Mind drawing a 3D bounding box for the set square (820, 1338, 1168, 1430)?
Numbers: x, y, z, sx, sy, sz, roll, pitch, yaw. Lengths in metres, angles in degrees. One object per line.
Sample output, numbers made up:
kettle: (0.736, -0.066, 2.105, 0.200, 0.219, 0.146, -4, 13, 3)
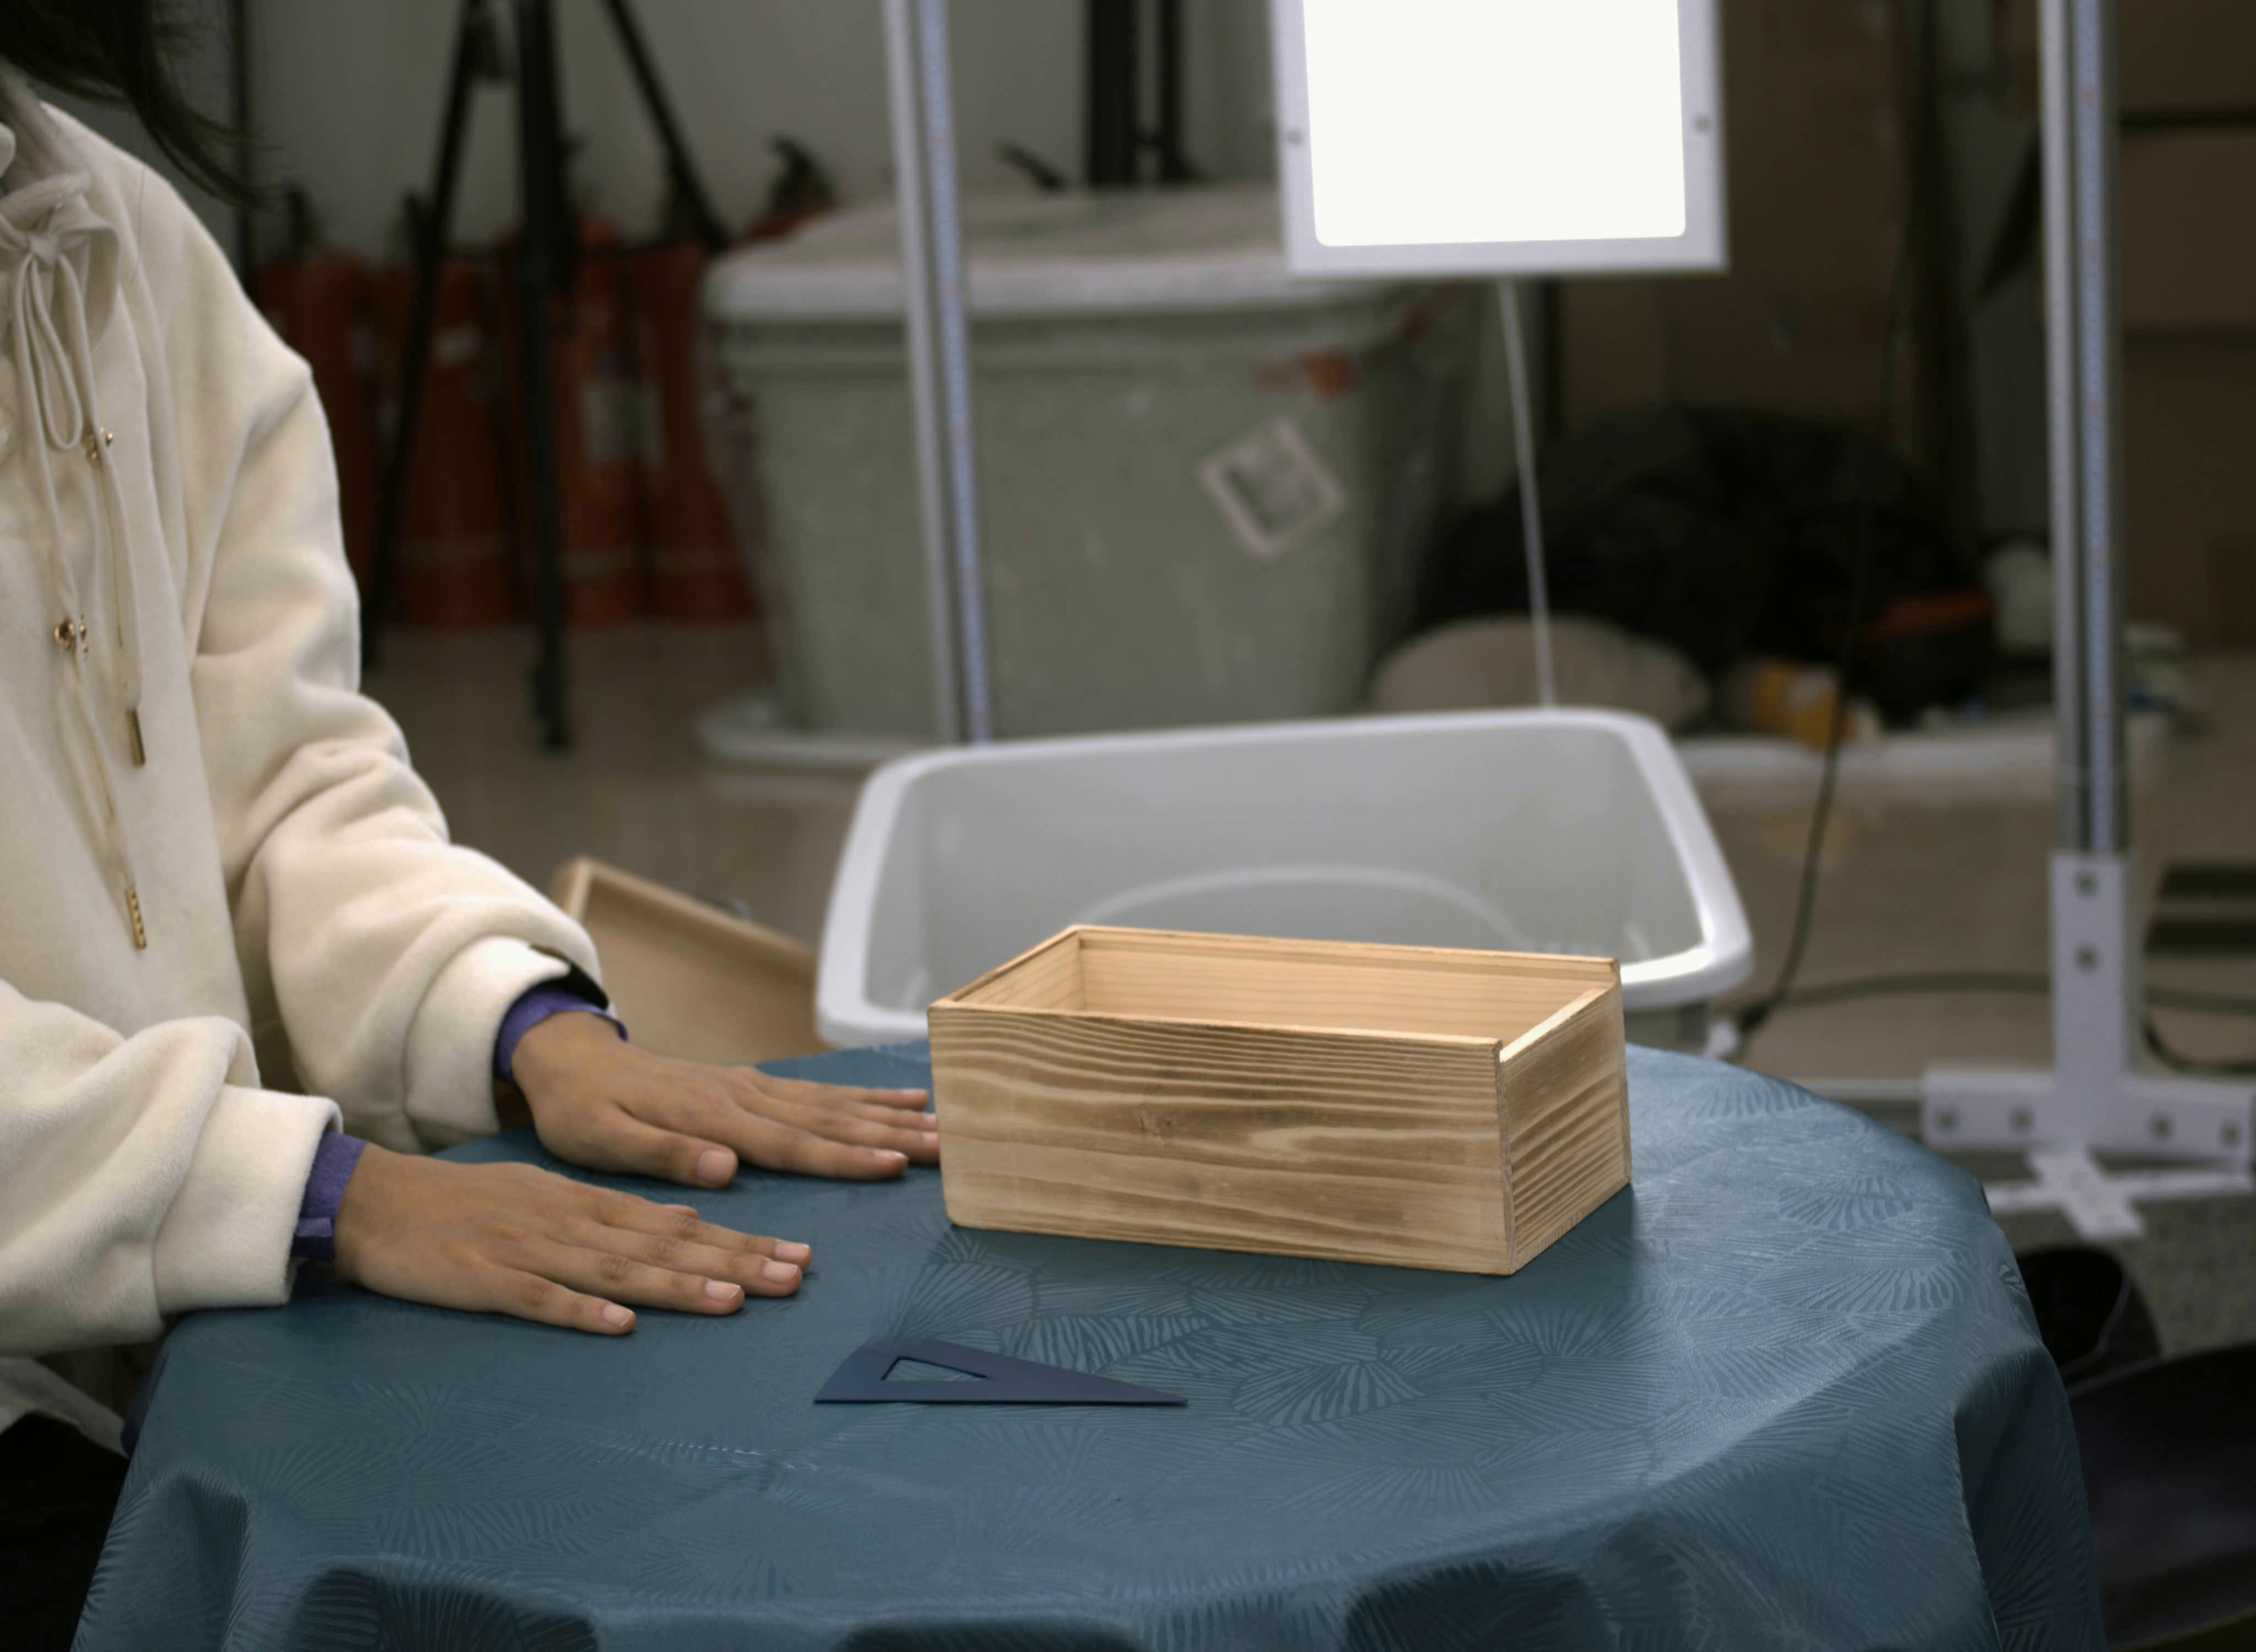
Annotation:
set square: (-0.049, 0.177, 1.702, 0.059, 0.006, 0.135, -15, 17, -39)

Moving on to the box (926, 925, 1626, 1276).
box: (0.050, 0.090, 1.860, 0.215, 0.080, 0.105, 3, 15, 29)
